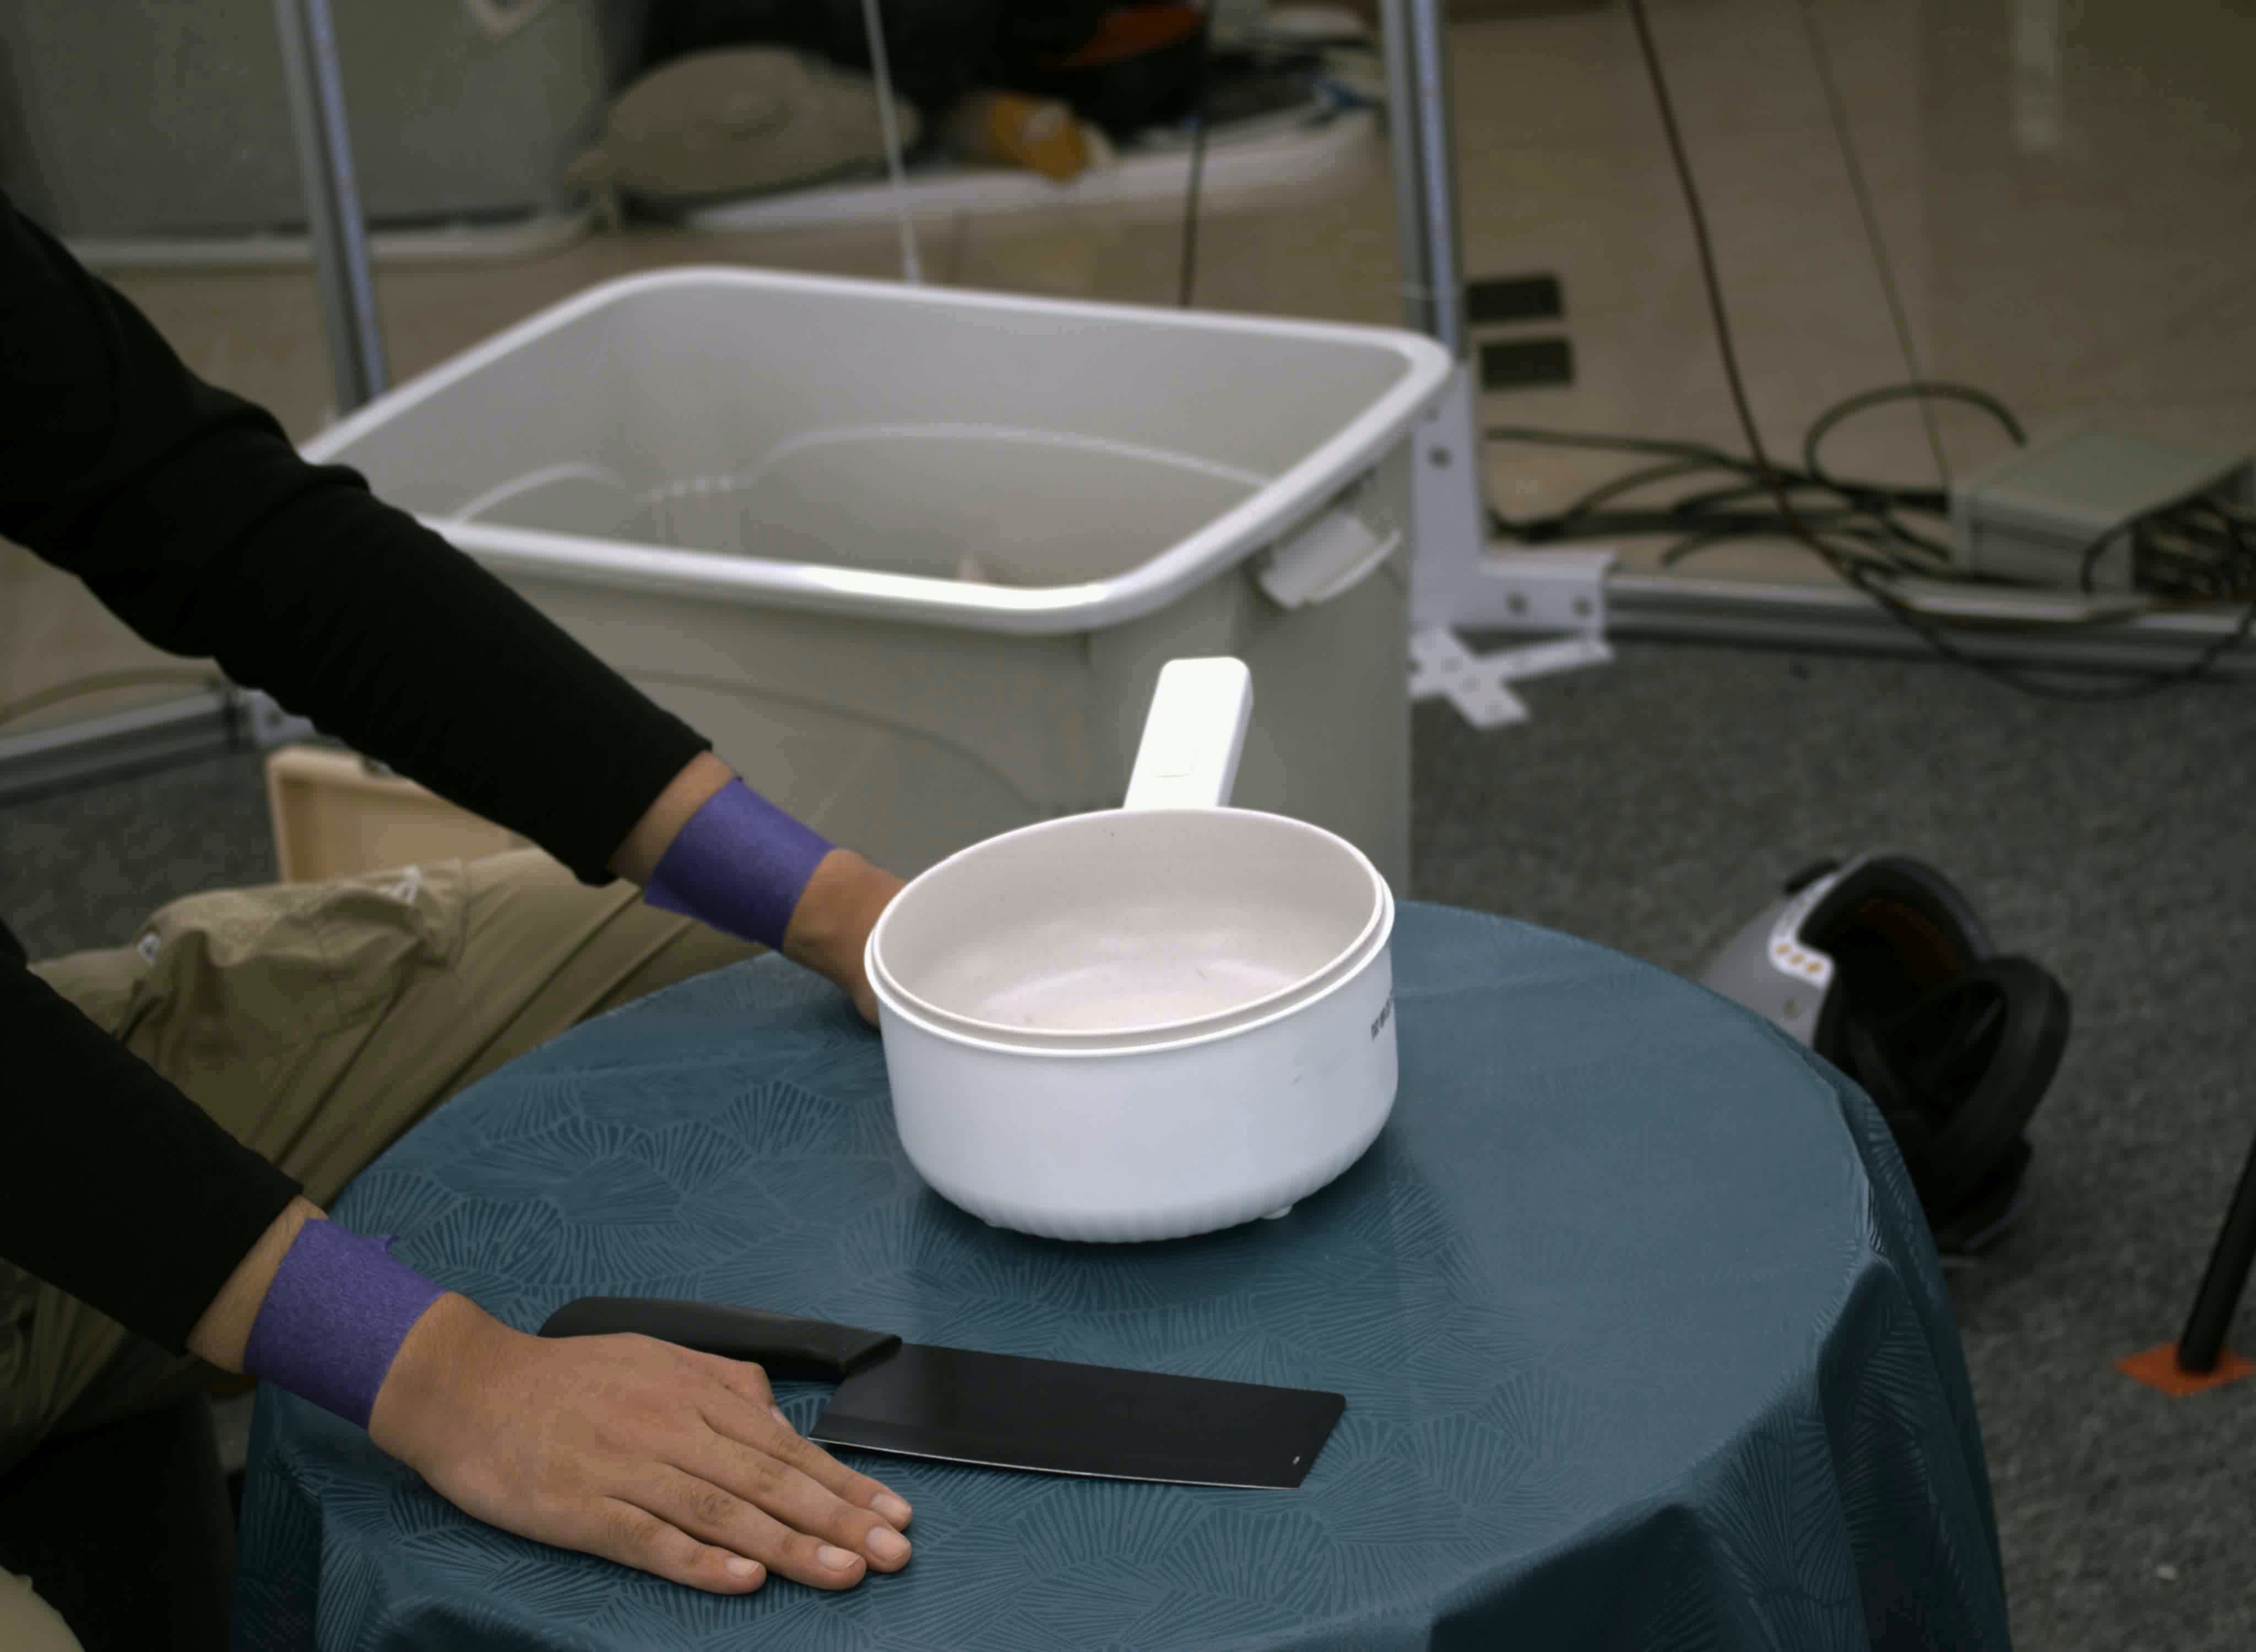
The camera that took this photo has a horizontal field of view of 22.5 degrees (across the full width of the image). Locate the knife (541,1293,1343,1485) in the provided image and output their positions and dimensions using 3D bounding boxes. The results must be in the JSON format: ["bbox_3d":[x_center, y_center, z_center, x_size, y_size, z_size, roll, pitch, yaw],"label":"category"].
[{"bbox_3d":[-0.072,0.200,2.020,0.301,0.021,0.080,7,29,23],"label":"knife"}]

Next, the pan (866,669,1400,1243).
[{"bbox_3d":[0.016,0.049,2.225,0.201,0.103,0.350,-3,24,10],"label":"pan"}]
